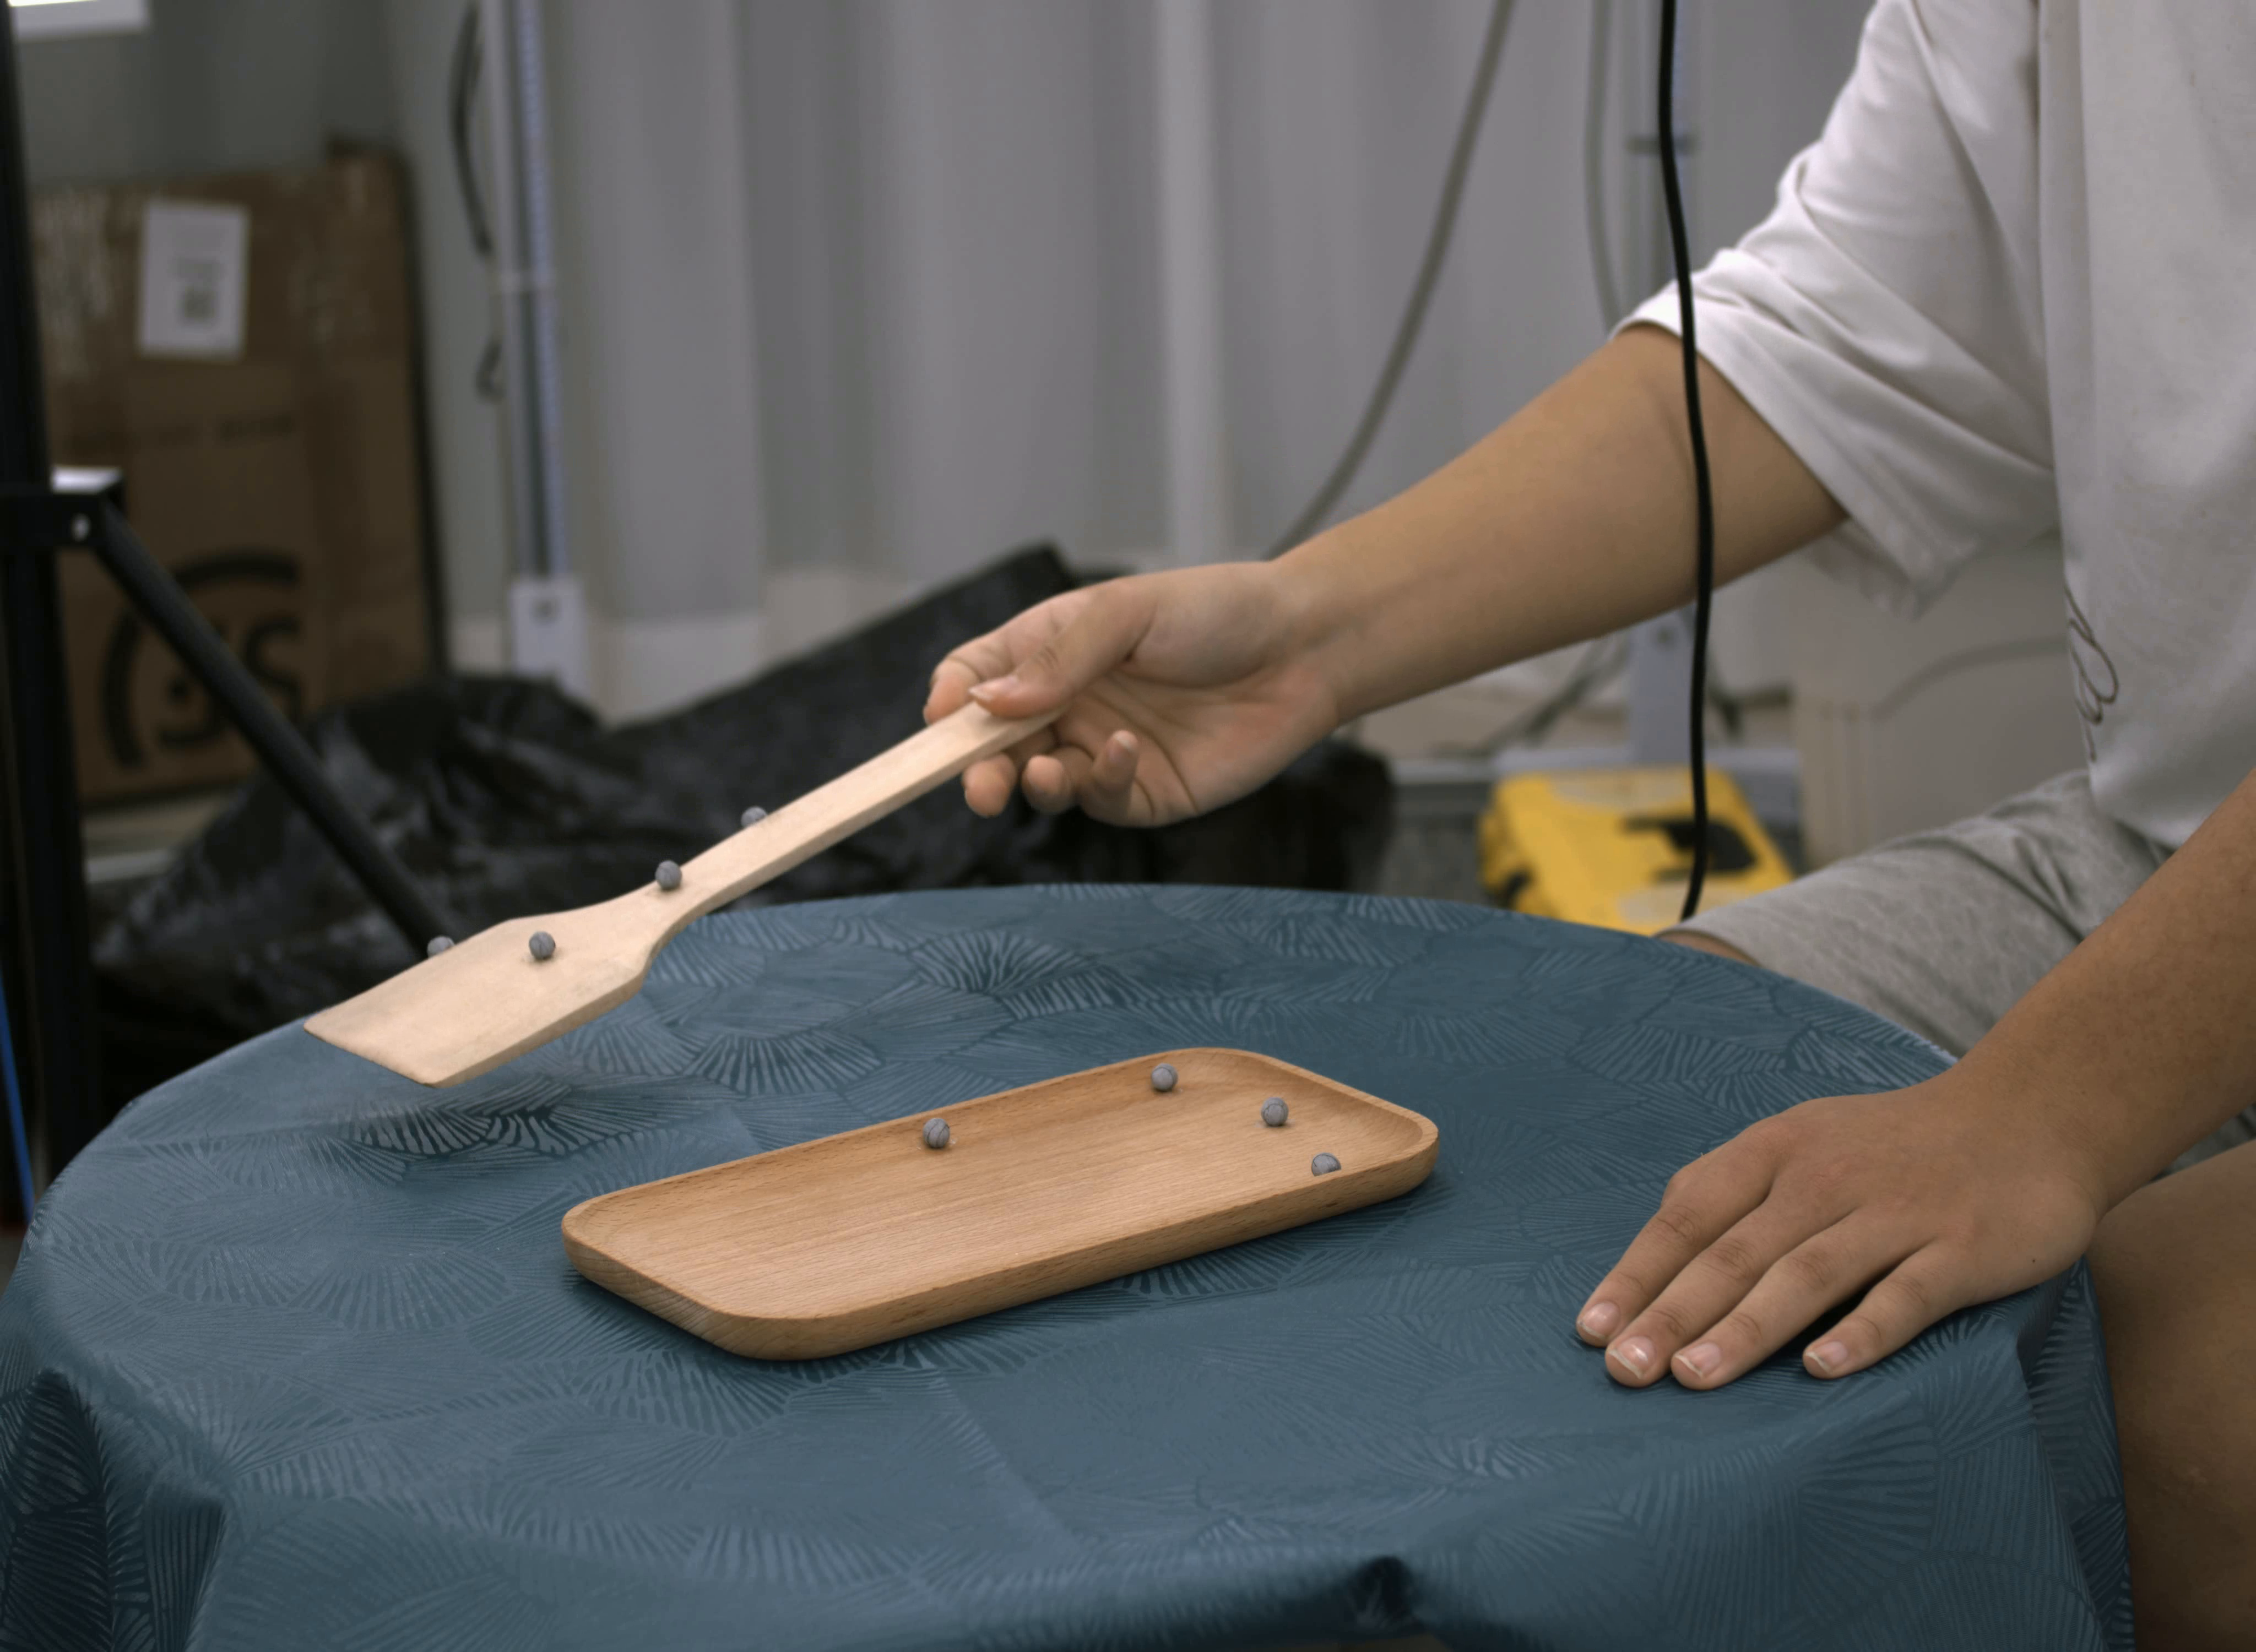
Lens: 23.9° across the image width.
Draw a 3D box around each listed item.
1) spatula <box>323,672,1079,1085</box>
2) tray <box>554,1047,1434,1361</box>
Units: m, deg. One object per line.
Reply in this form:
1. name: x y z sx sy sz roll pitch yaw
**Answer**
1. spatula: -0.125 0.012 1.699 0.288 0.010 0.074 -30 32 -34
2. tray: -0.036 0.108 1.538 0.245 0.023 0.133 -13 17 -32
